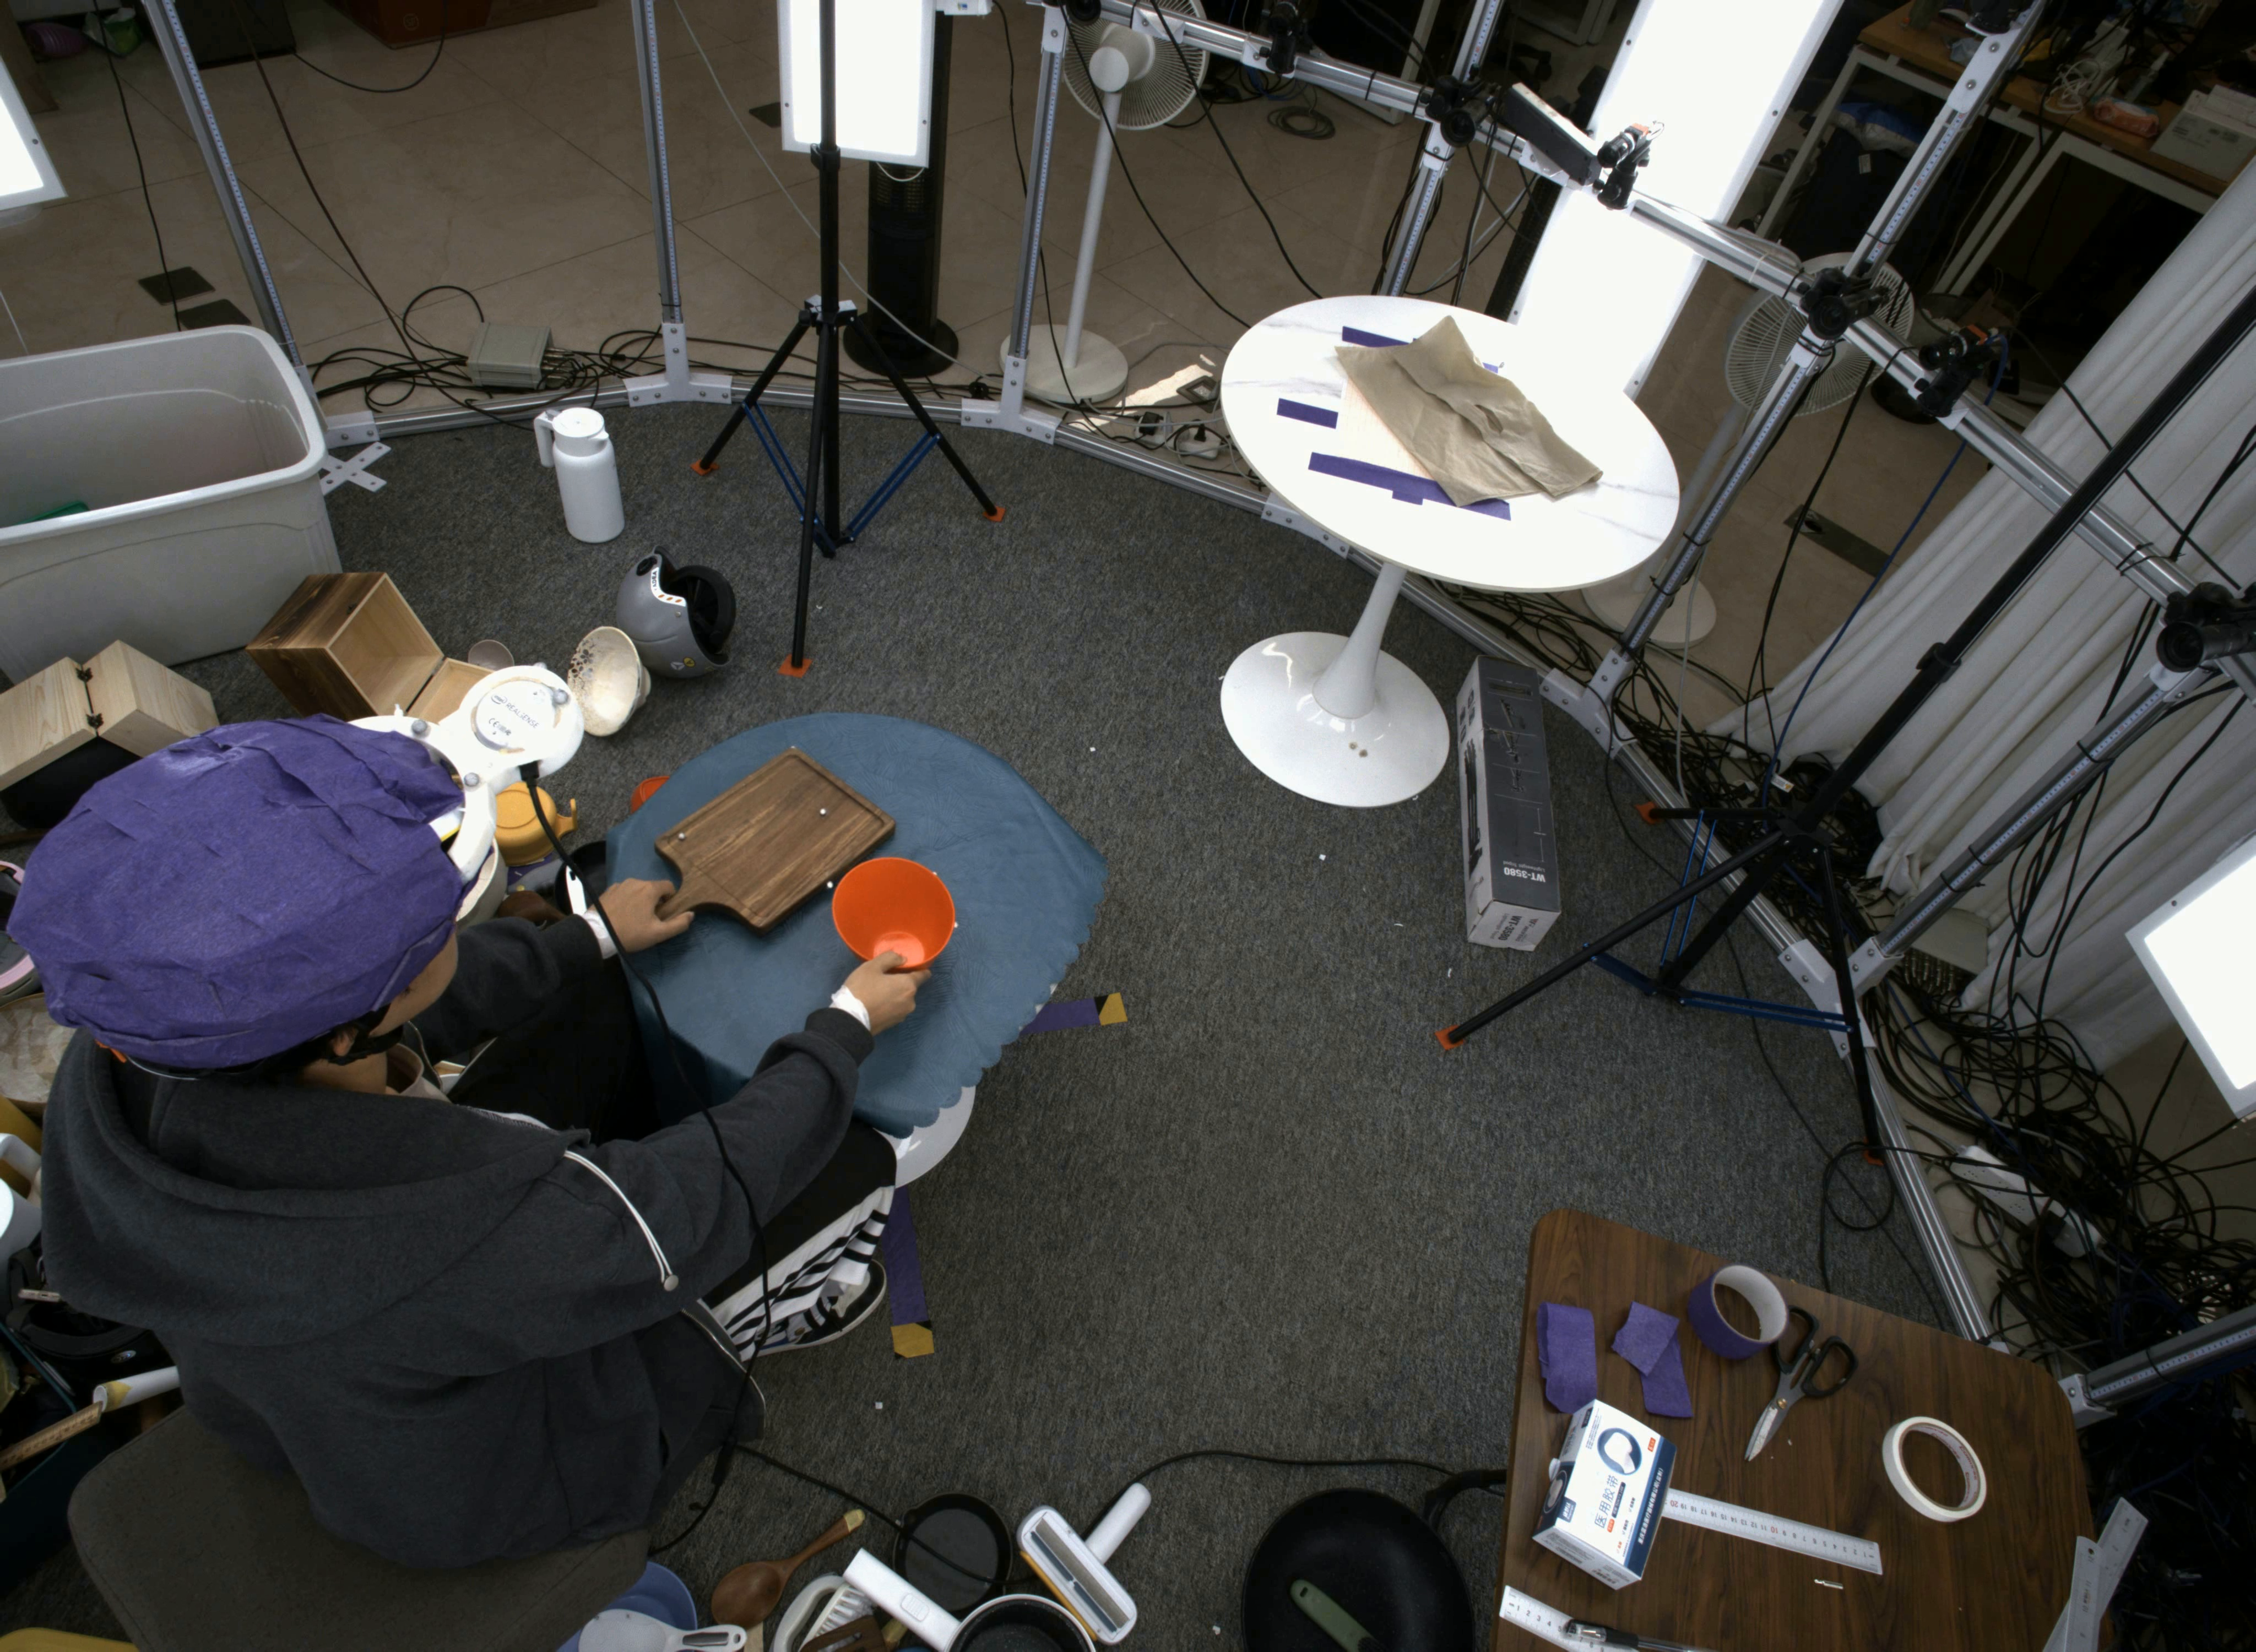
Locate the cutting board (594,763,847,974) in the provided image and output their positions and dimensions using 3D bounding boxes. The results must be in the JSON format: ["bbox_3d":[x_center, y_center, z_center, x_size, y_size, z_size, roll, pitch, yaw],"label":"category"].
[{"bbox_3d":[-0.540,0.063,1.625,0.197,0.023,0.351,33,49,11],"label":"cutting board"}]

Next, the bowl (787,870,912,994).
[{"bbox_3d":[-0.337,0.140,1.582,0.148,0.107,0.145,7,53,-8],"label":"bowl"}]
